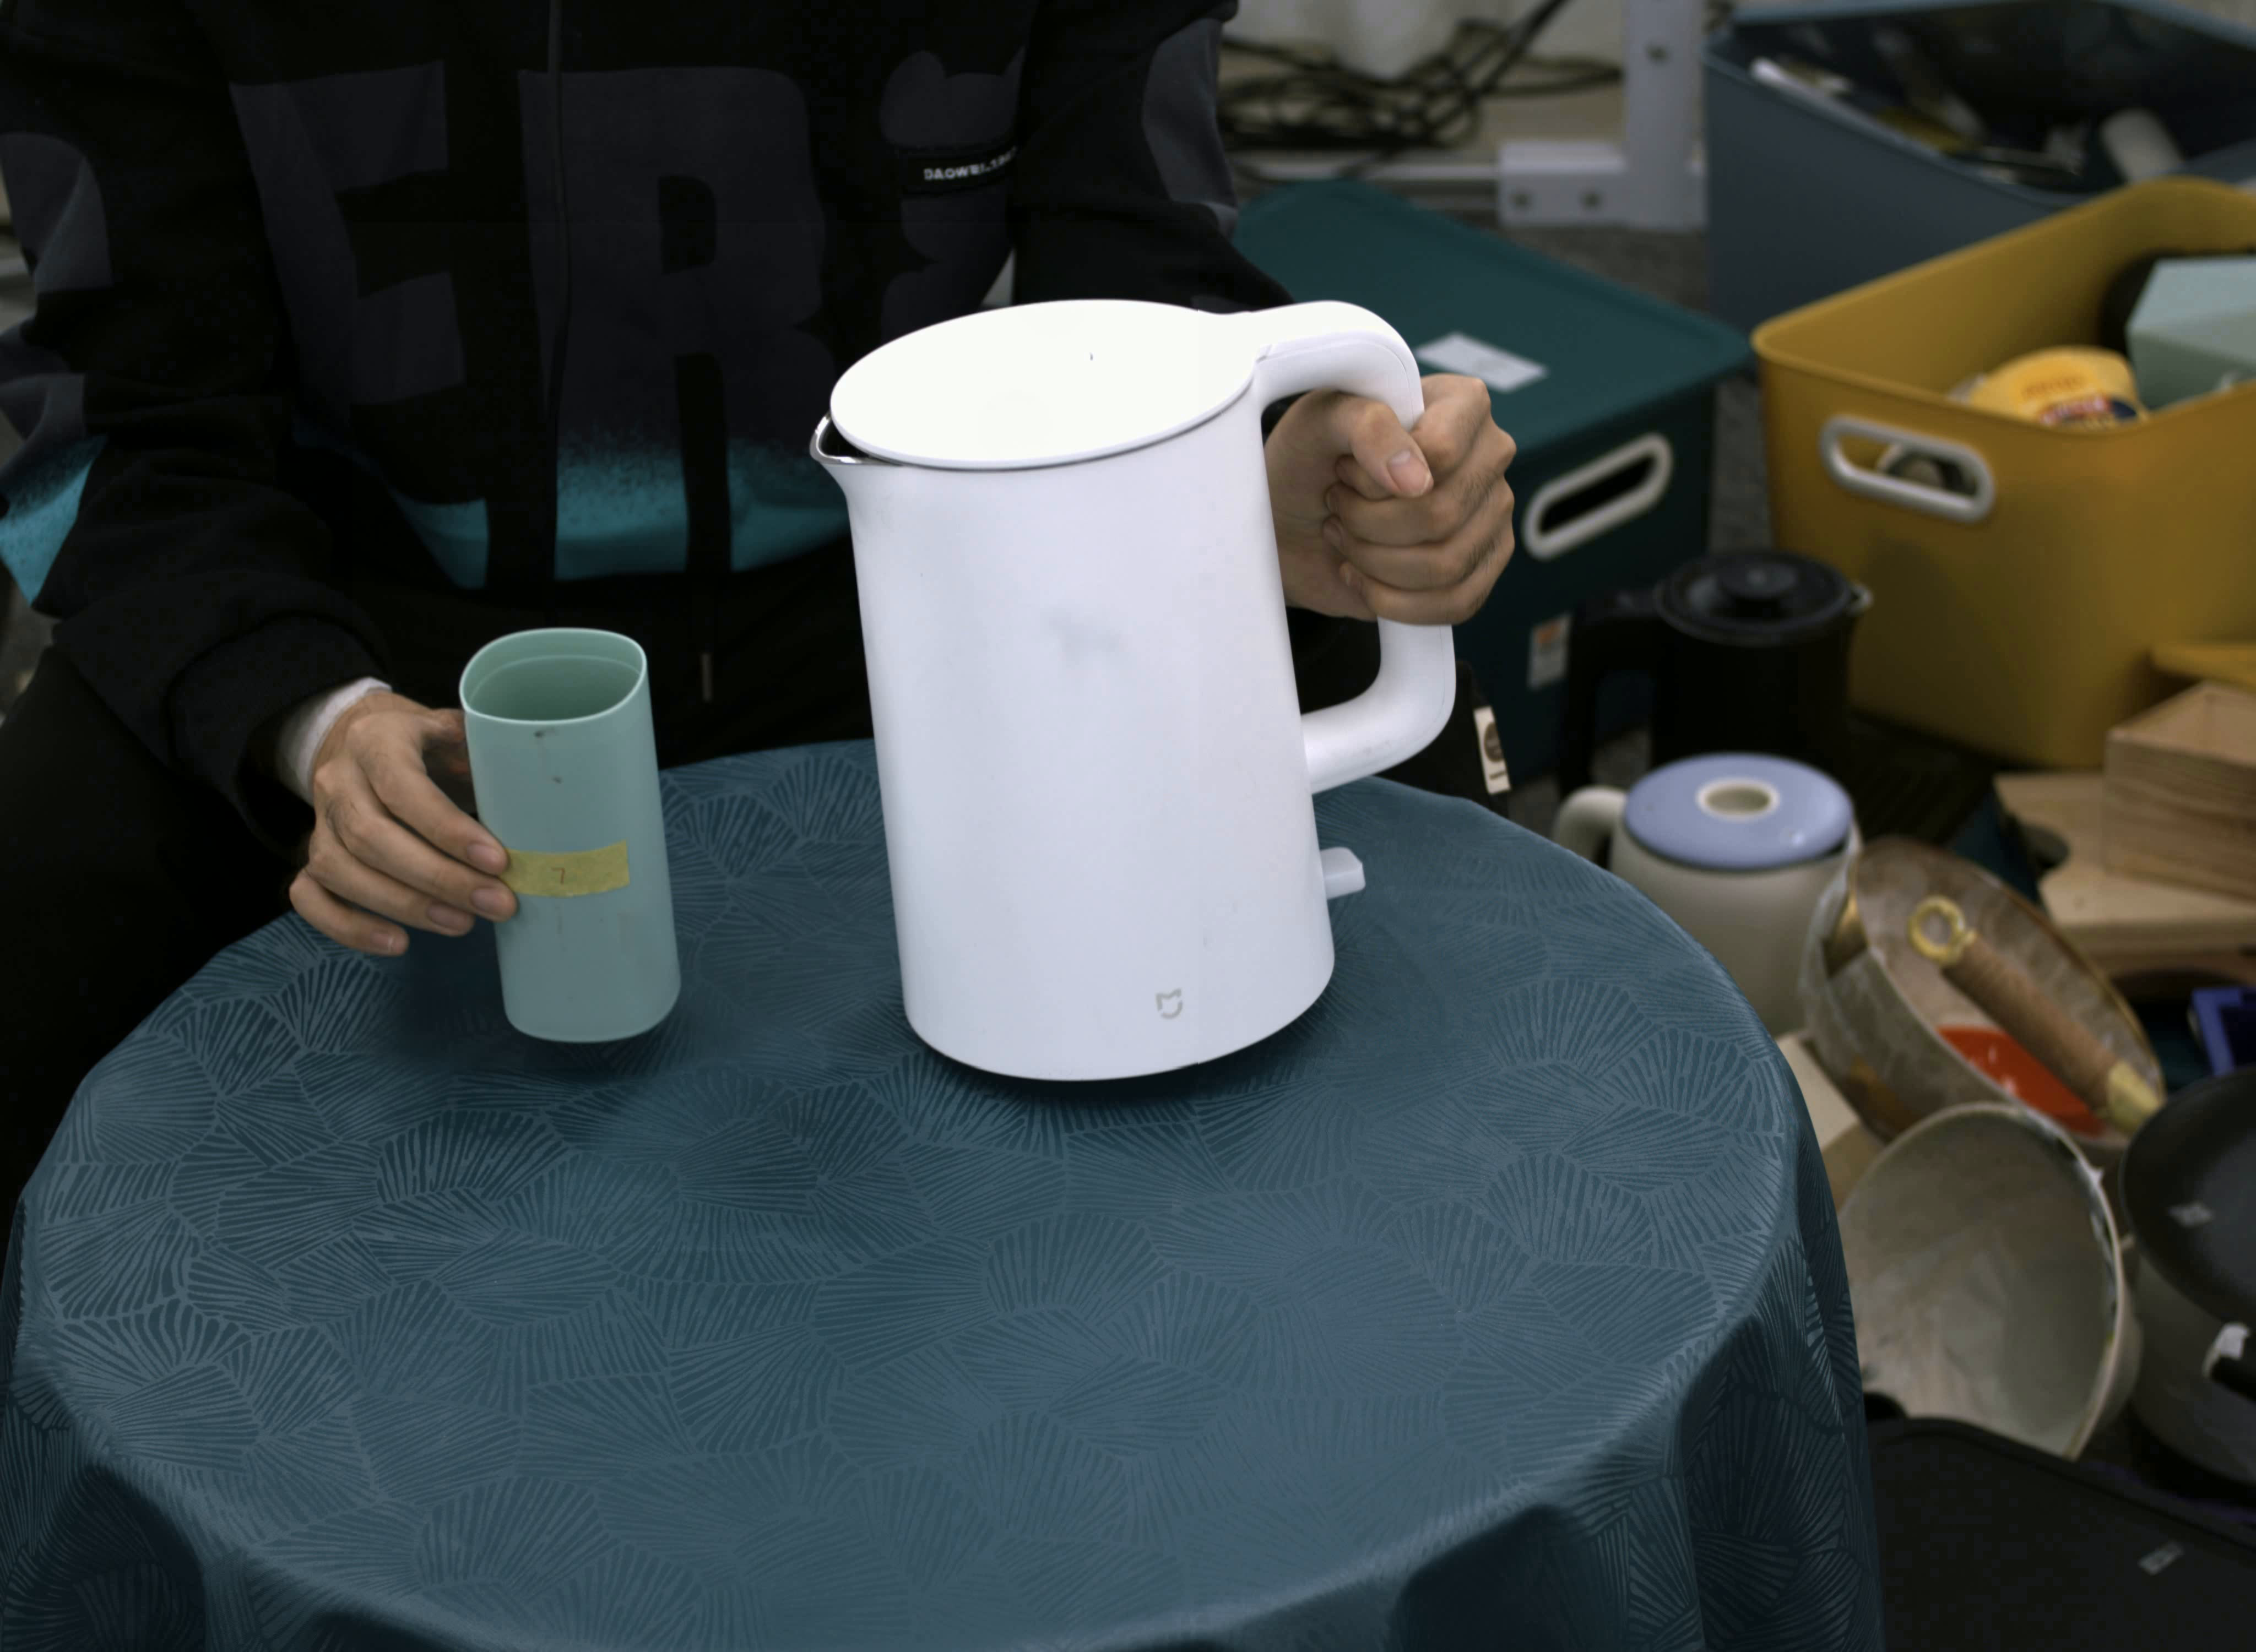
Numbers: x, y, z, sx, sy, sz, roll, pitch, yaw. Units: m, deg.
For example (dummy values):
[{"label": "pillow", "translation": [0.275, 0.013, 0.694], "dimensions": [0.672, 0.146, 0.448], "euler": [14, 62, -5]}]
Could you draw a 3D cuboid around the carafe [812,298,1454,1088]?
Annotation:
[{"label": "carafe", "translation": [0.009, -0.052, 1.929], "dimensions": [0.213, 0.238, 0.153], "euler": [-13, 26, -14]}]

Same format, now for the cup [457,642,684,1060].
[{"label": "cup", "translation": [-0.189, 0.008, 1.922], "dimensions": [0.066, 0.130, 0.068], "euler": [-3, 31, 2]}]
